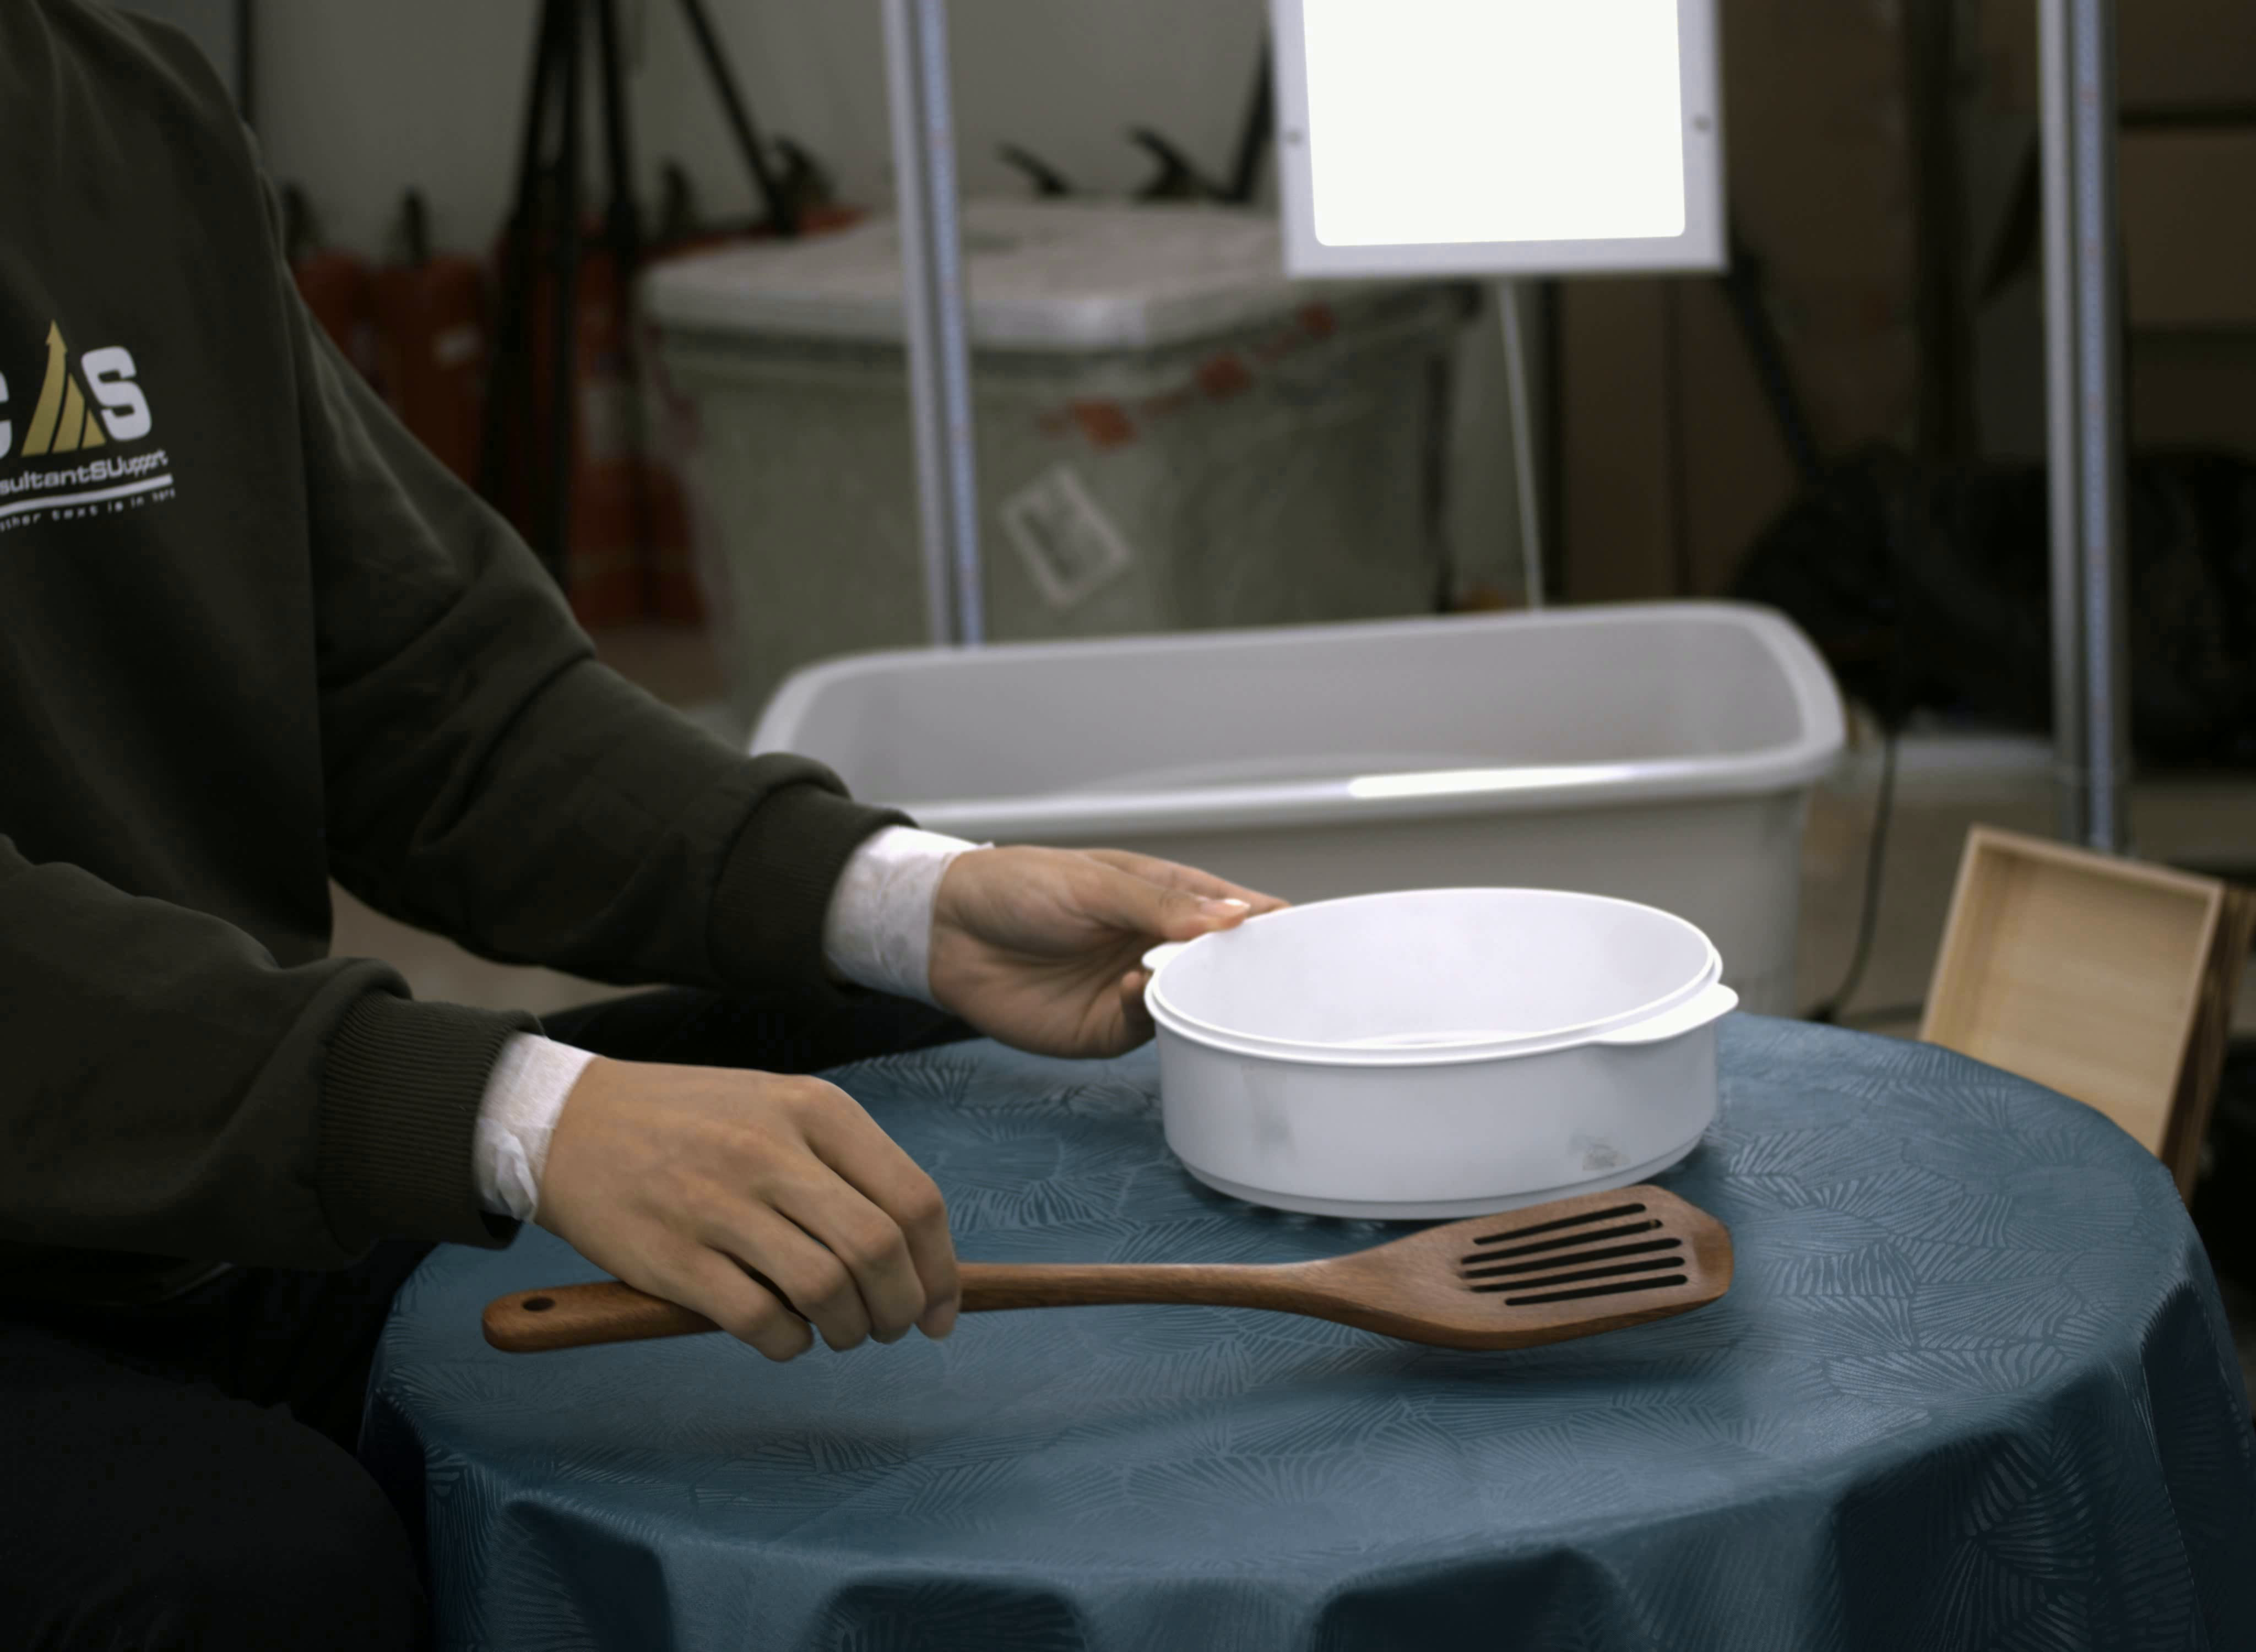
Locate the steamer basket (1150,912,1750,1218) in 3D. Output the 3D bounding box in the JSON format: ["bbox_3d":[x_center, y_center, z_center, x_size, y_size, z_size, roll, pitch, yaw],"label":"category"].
[{"bbox_3d":[0.111,0.083,1.906,0.235,0.069,0.197,4,14,41],"label":"steamer basket"}]

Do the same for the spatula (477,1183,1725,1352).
[{"bbox_3d":[-0.007,0.144,1.689,0.382,0.024,0.086,-2,22,-6],"label":"spatula"}]
